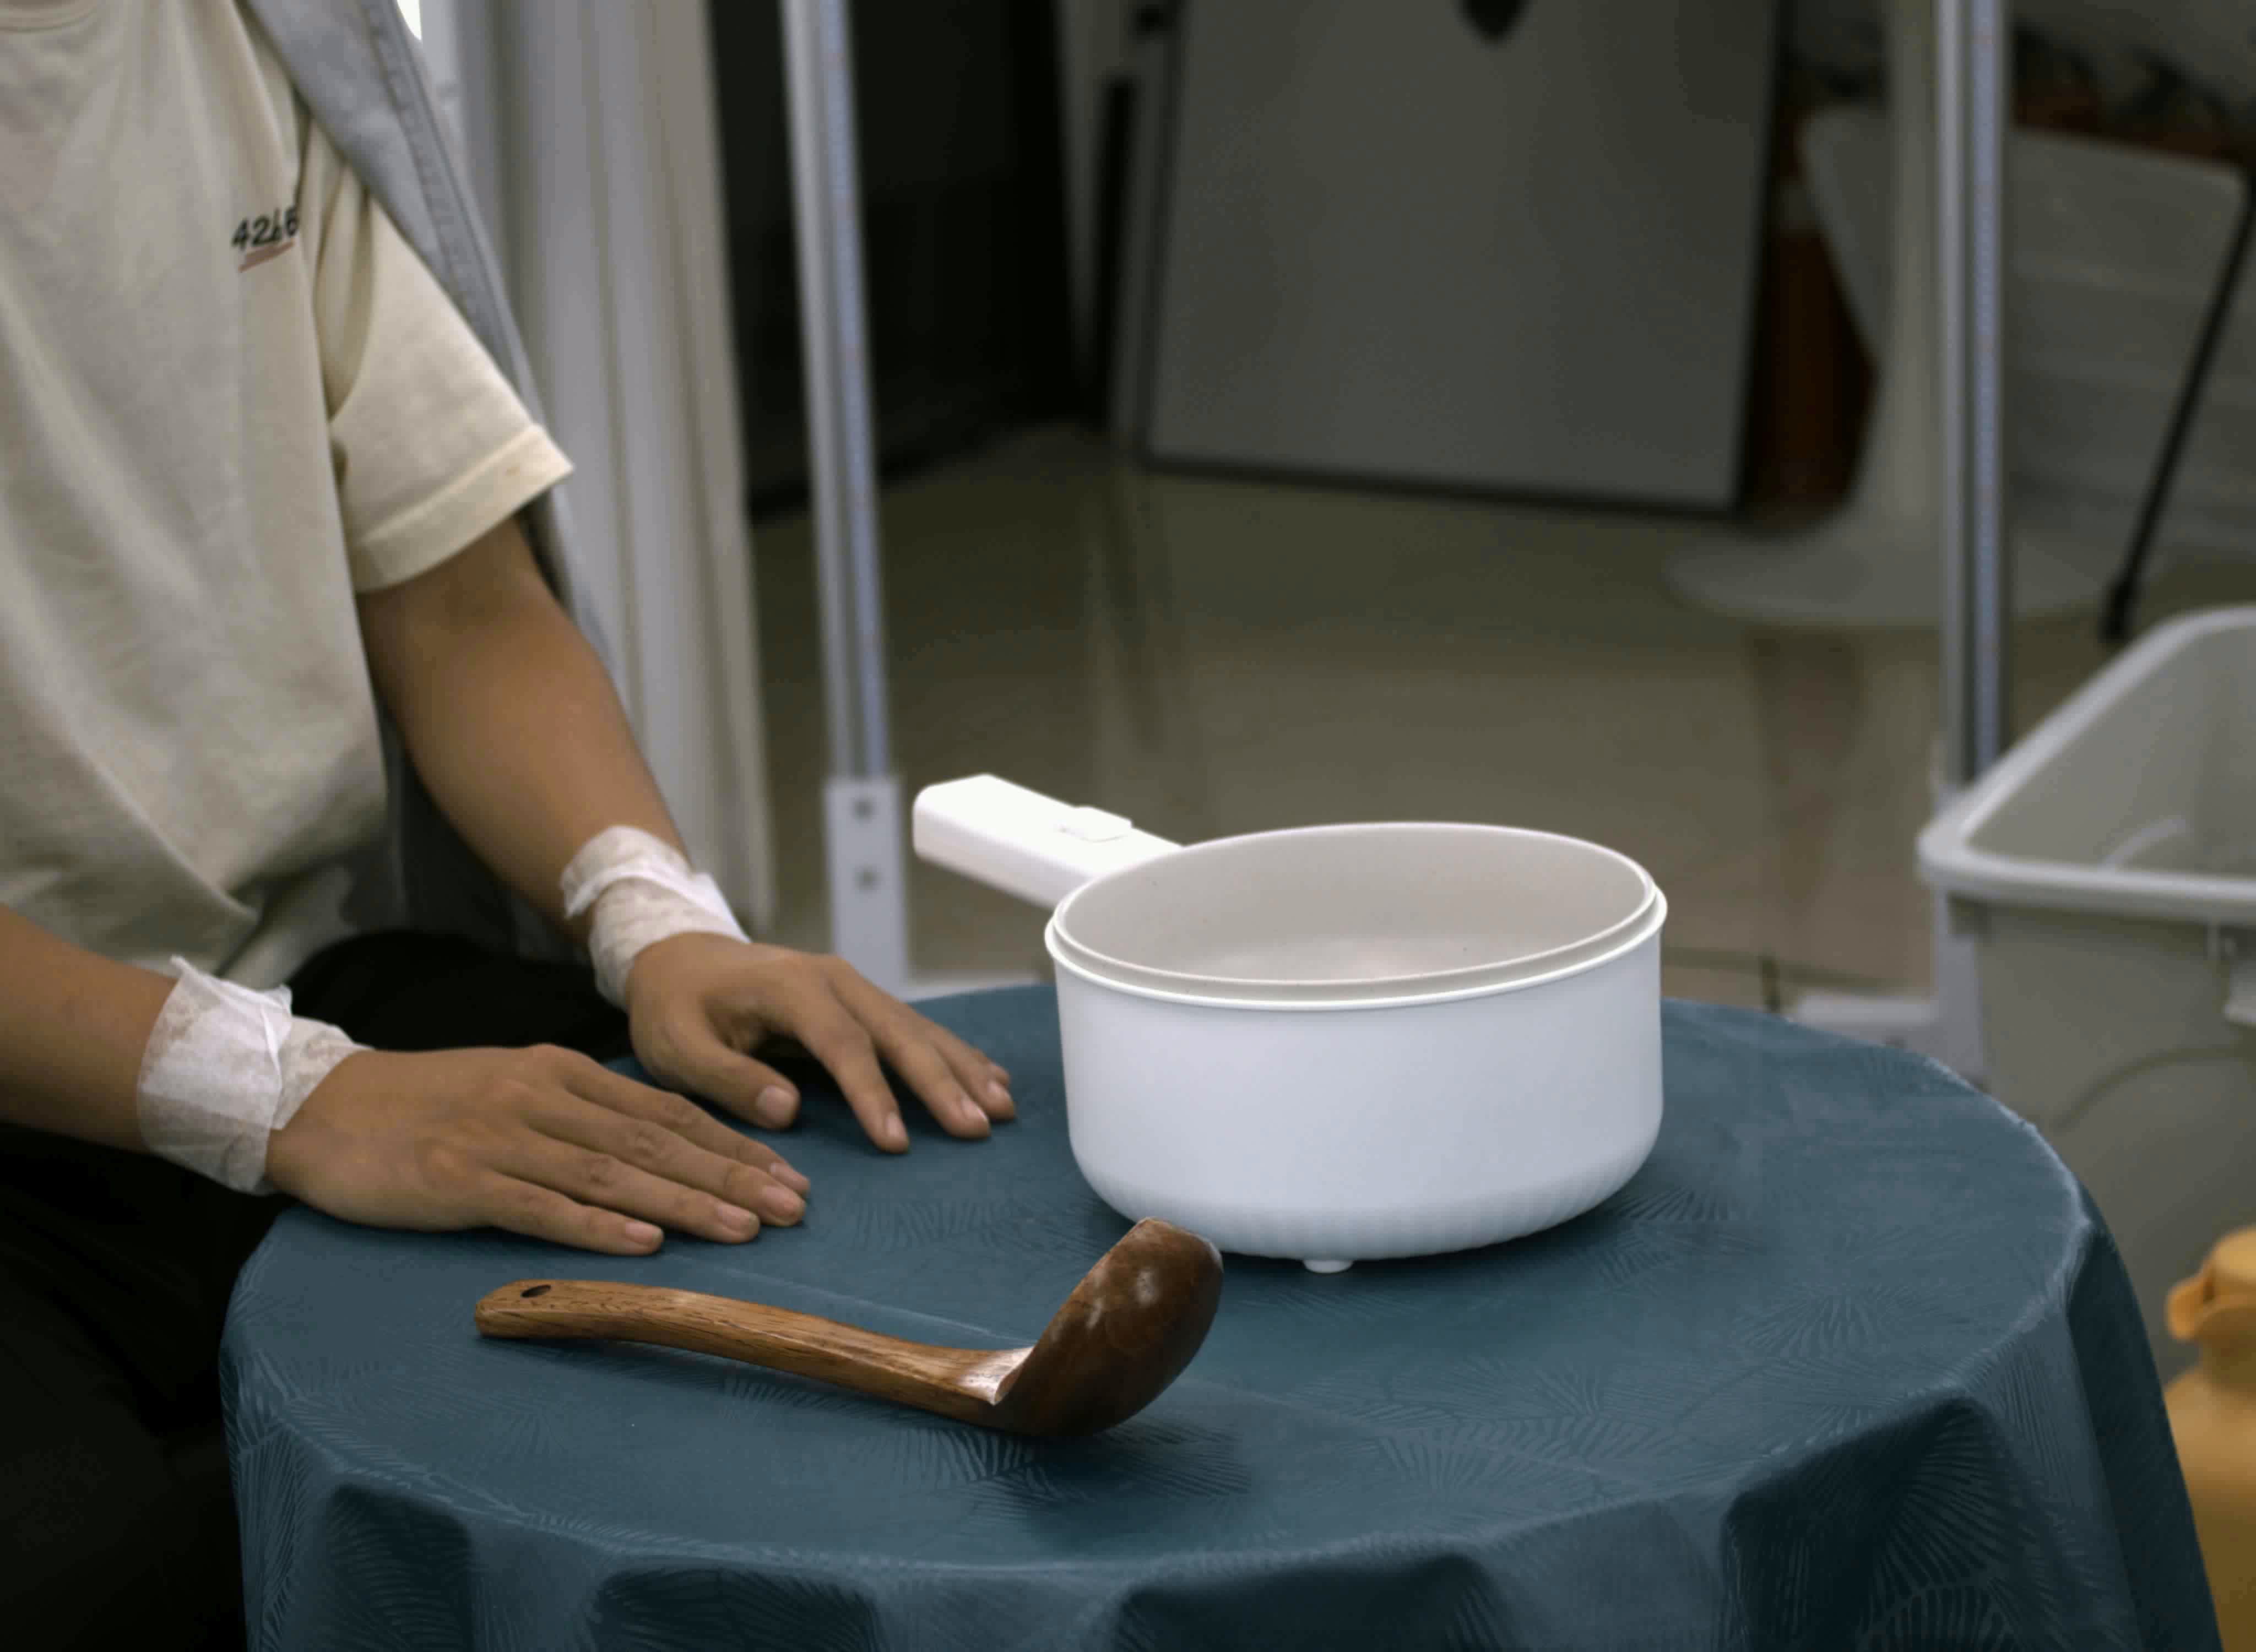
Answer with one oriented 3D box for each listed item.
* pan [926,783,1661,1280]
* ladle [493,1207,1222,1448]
[{"bbox_3d":[0.035,0.061,1.806,0.197,0.103,0.358,-13,15,-29],"label":"pan"},{"bbox_3d":[-0.090,0.132,1.593,0.276,0.077,0.080,9,20,38],"label":"ladle"}]
